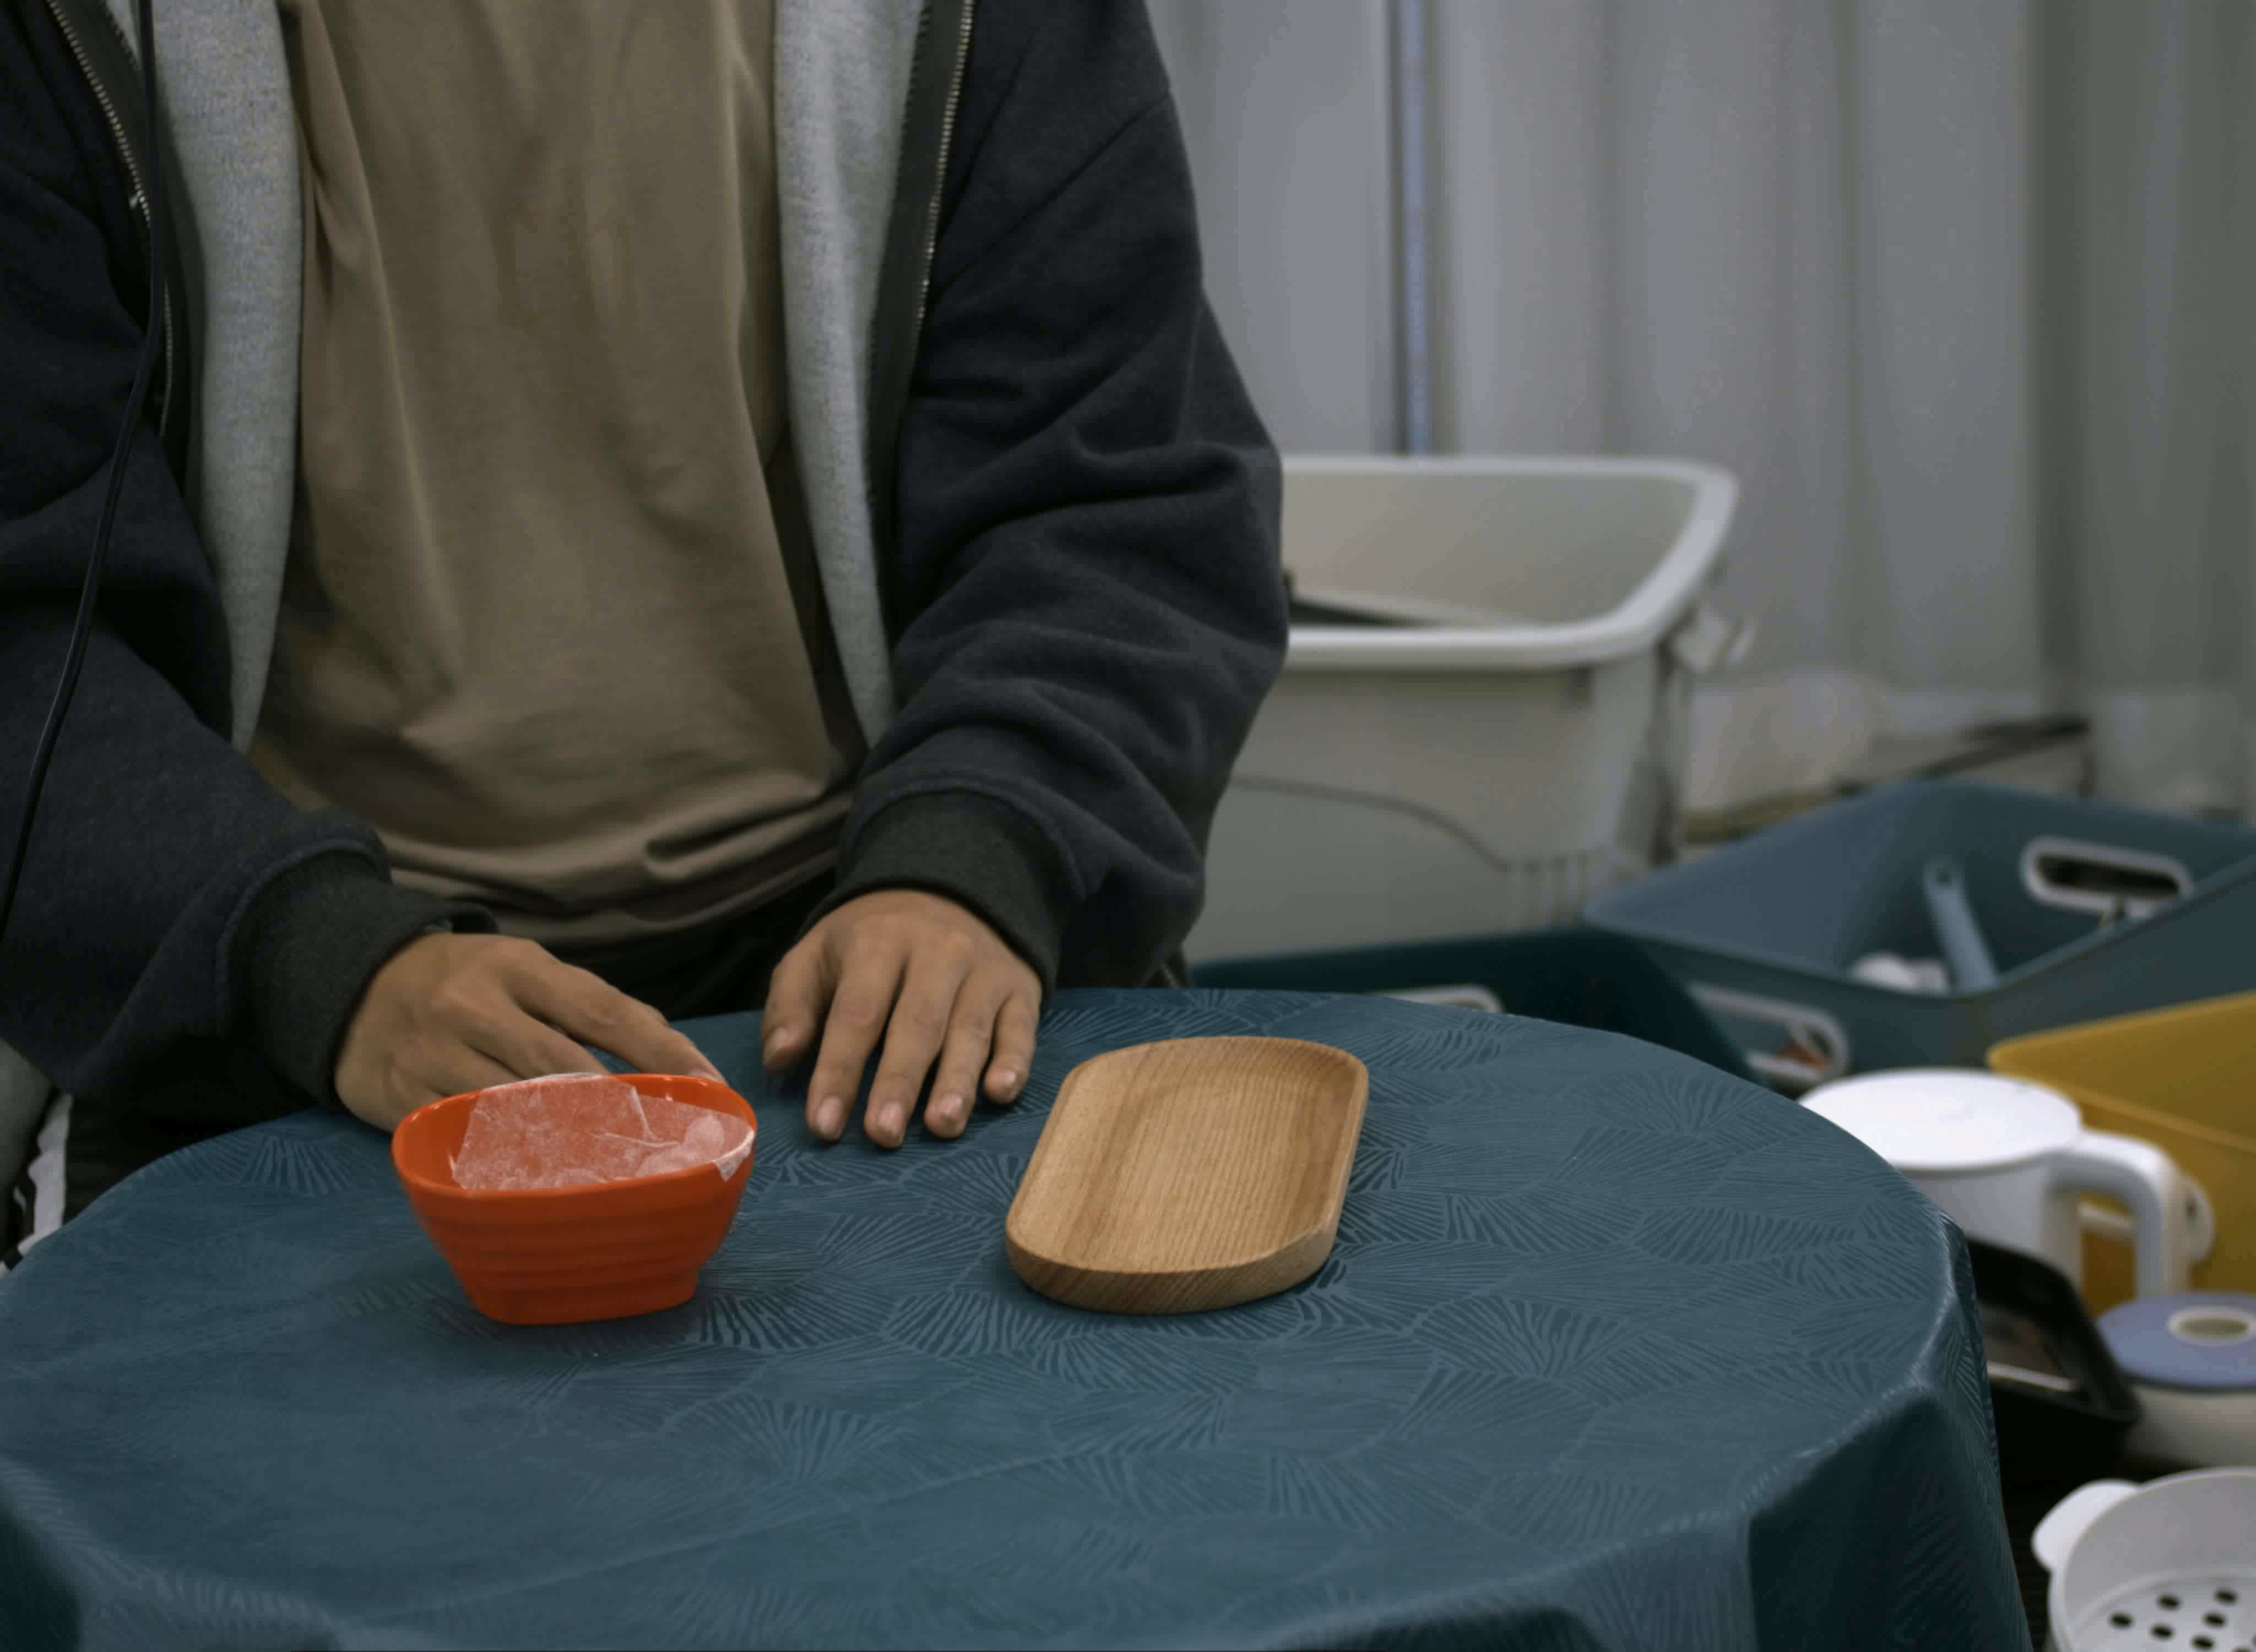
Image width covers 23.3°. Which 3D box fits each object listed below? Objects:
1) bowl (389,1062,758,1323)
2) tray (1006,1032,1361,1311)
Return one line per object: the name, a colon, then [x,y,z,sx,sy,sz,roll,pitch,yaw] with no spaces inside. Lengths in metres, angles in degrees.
bowl: [-0.165,0.113,1.649,0.118,0.051,0.120,-3,16,1]
tray: [0.019,0.106,1.714,0.101,0.020,0.232,-1,14,6]
